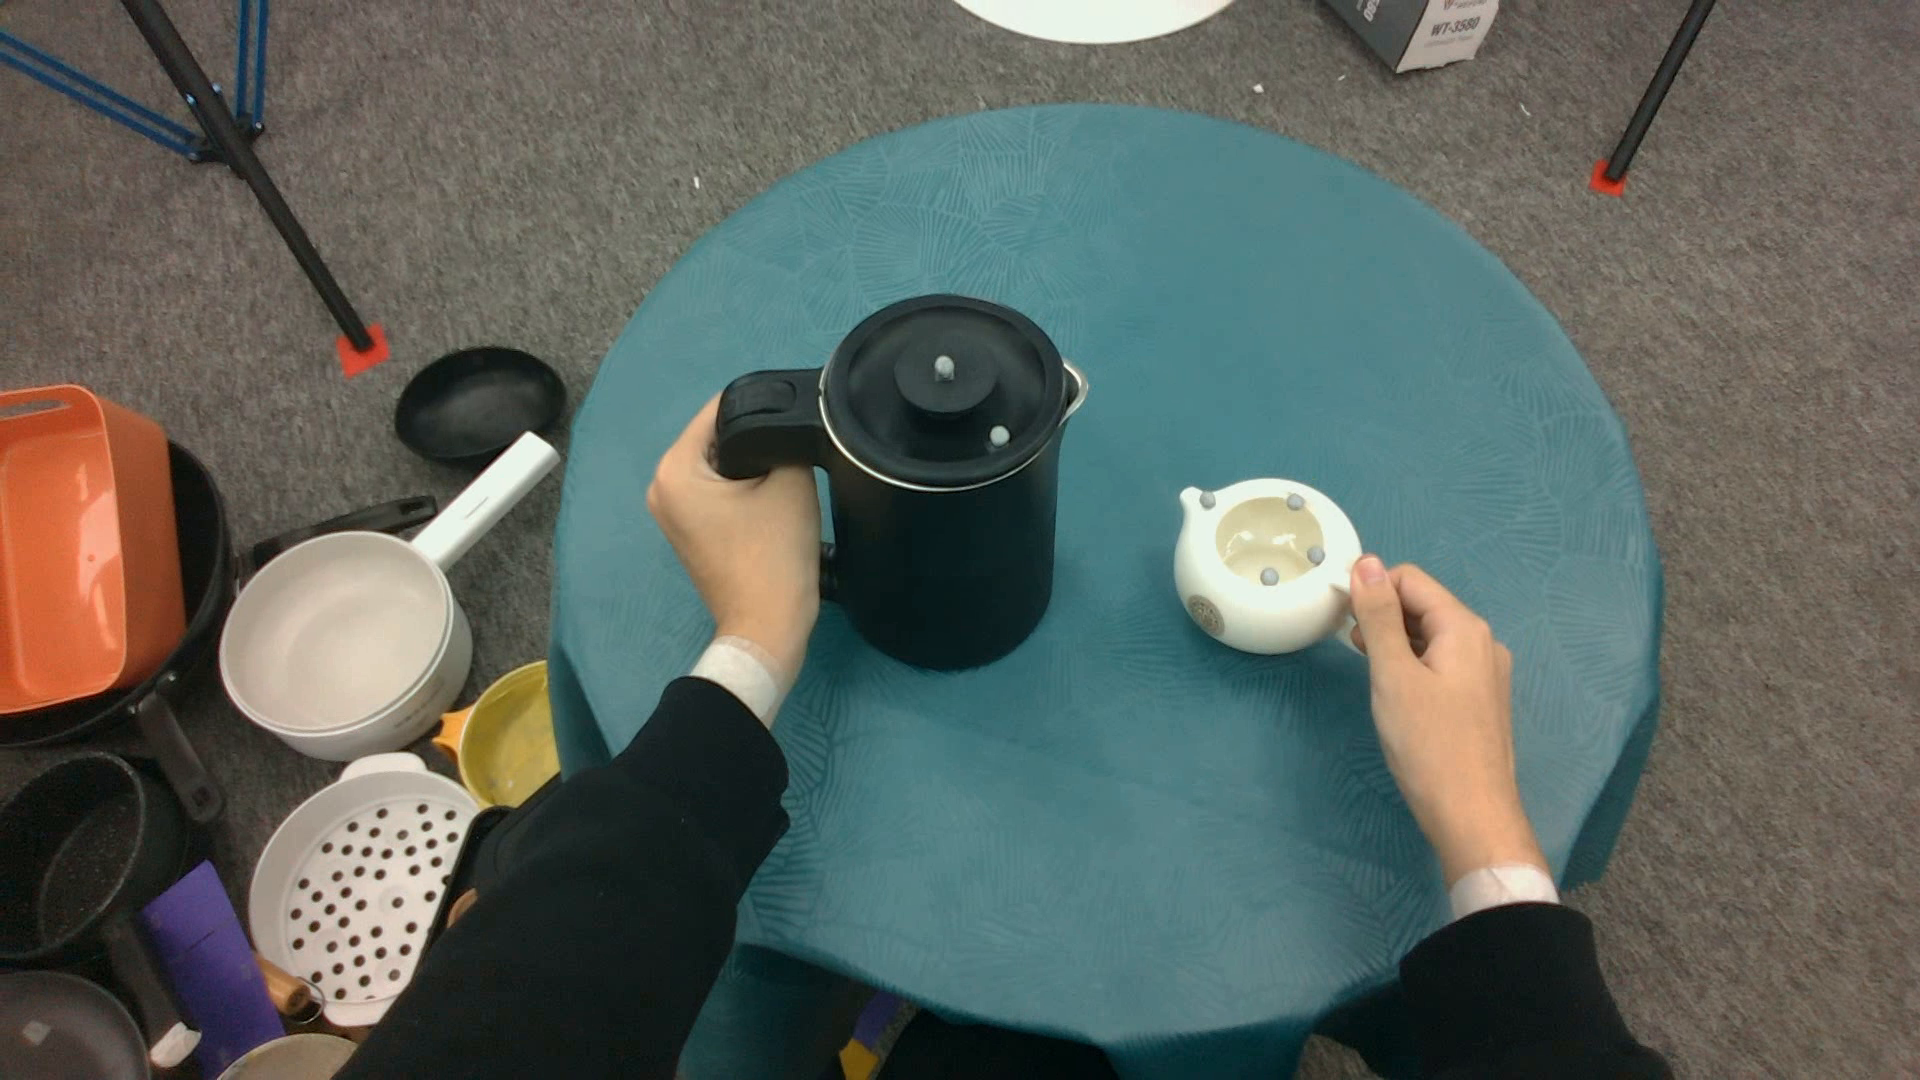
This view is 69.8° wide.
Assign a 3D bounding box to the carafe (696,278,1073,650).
[{"bbox_3d":[-0.040,-0.033,0.659,0.172,0.172,0.115,-2,59,-4],"label":"carafe"}]

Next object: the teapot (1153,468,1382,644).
[{"bbox_3d":[0.154,0.012,0.693,0.127,0.056,0.094,26,60,23],"label":"teapot"}]
